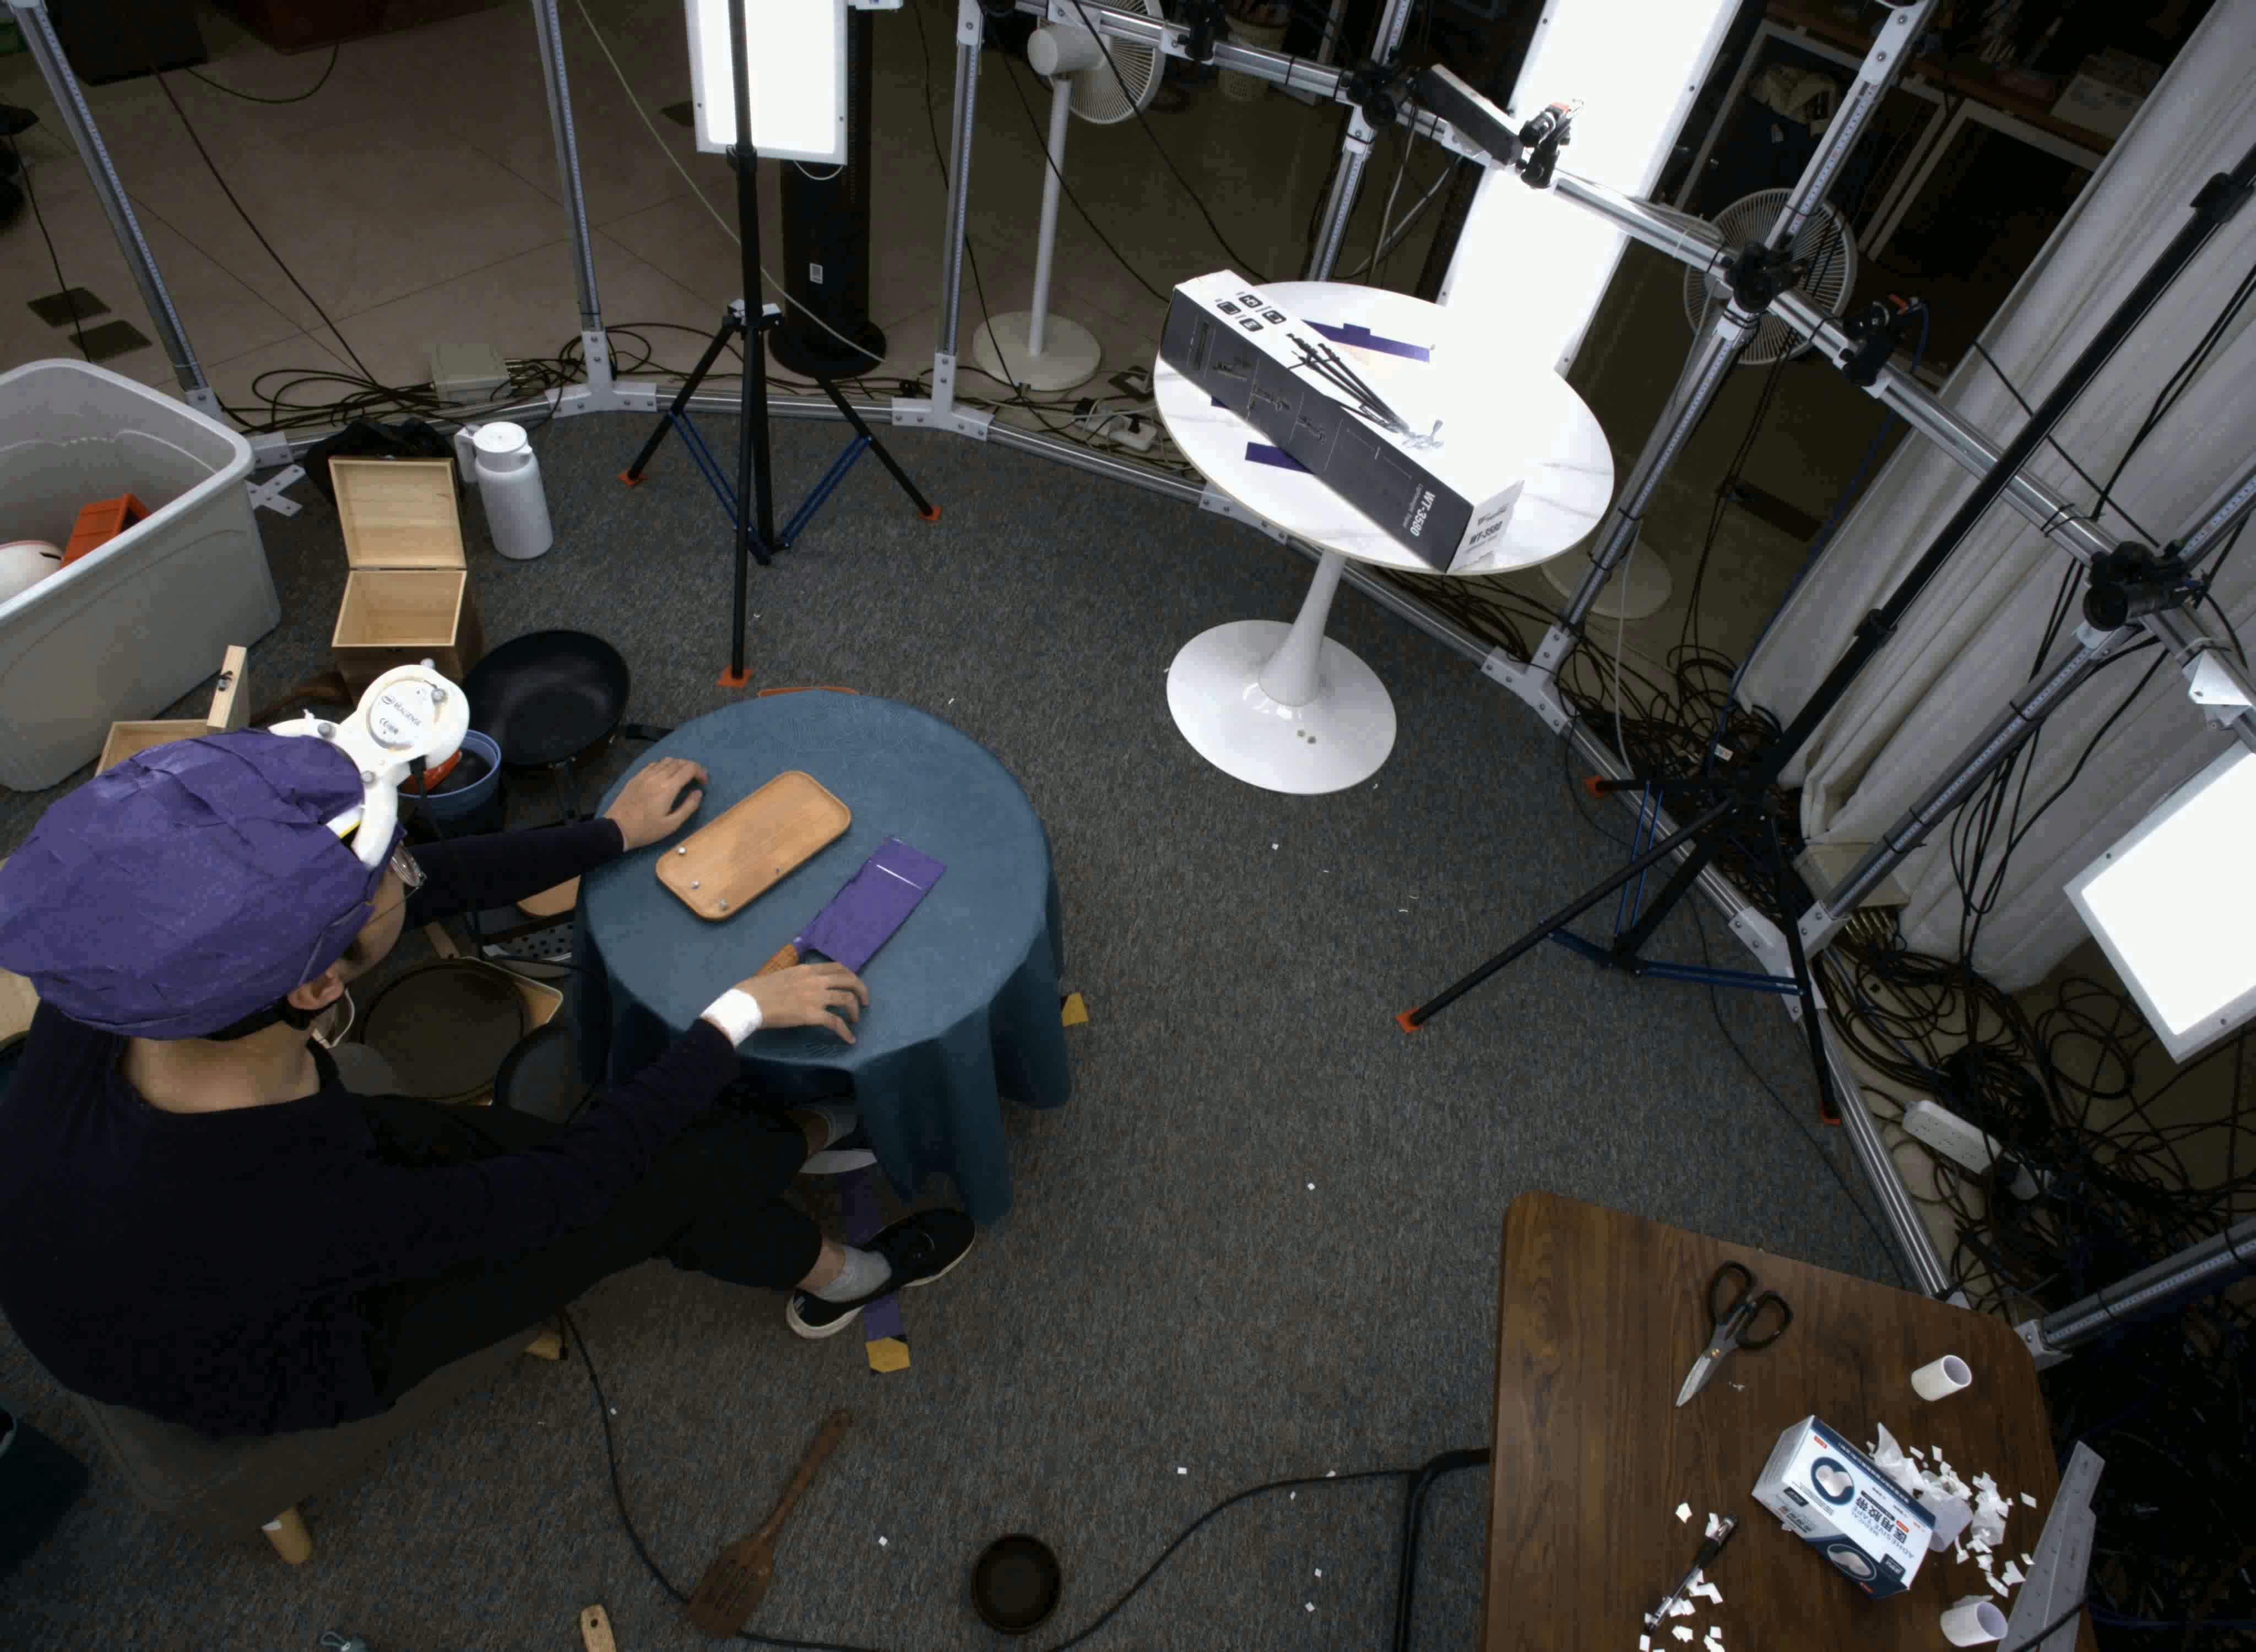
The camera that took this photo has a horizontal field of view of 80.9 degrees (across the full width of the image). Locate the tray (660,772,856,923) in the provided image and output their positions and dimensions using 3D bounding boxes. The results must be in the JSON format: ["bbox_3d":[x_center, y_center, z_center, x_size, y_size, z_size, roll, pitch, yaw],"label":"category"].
[{"bbox_3d":[-0.482,0.024,1.692,0.128,0.023,0.251,42,55,14],"label":"tray"}]

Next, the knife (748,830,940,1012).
[{"bbox_3d":[-0.350,0.124,1.645,0.102,0.033,0.314,28,52,8],"label":"knife"}]
